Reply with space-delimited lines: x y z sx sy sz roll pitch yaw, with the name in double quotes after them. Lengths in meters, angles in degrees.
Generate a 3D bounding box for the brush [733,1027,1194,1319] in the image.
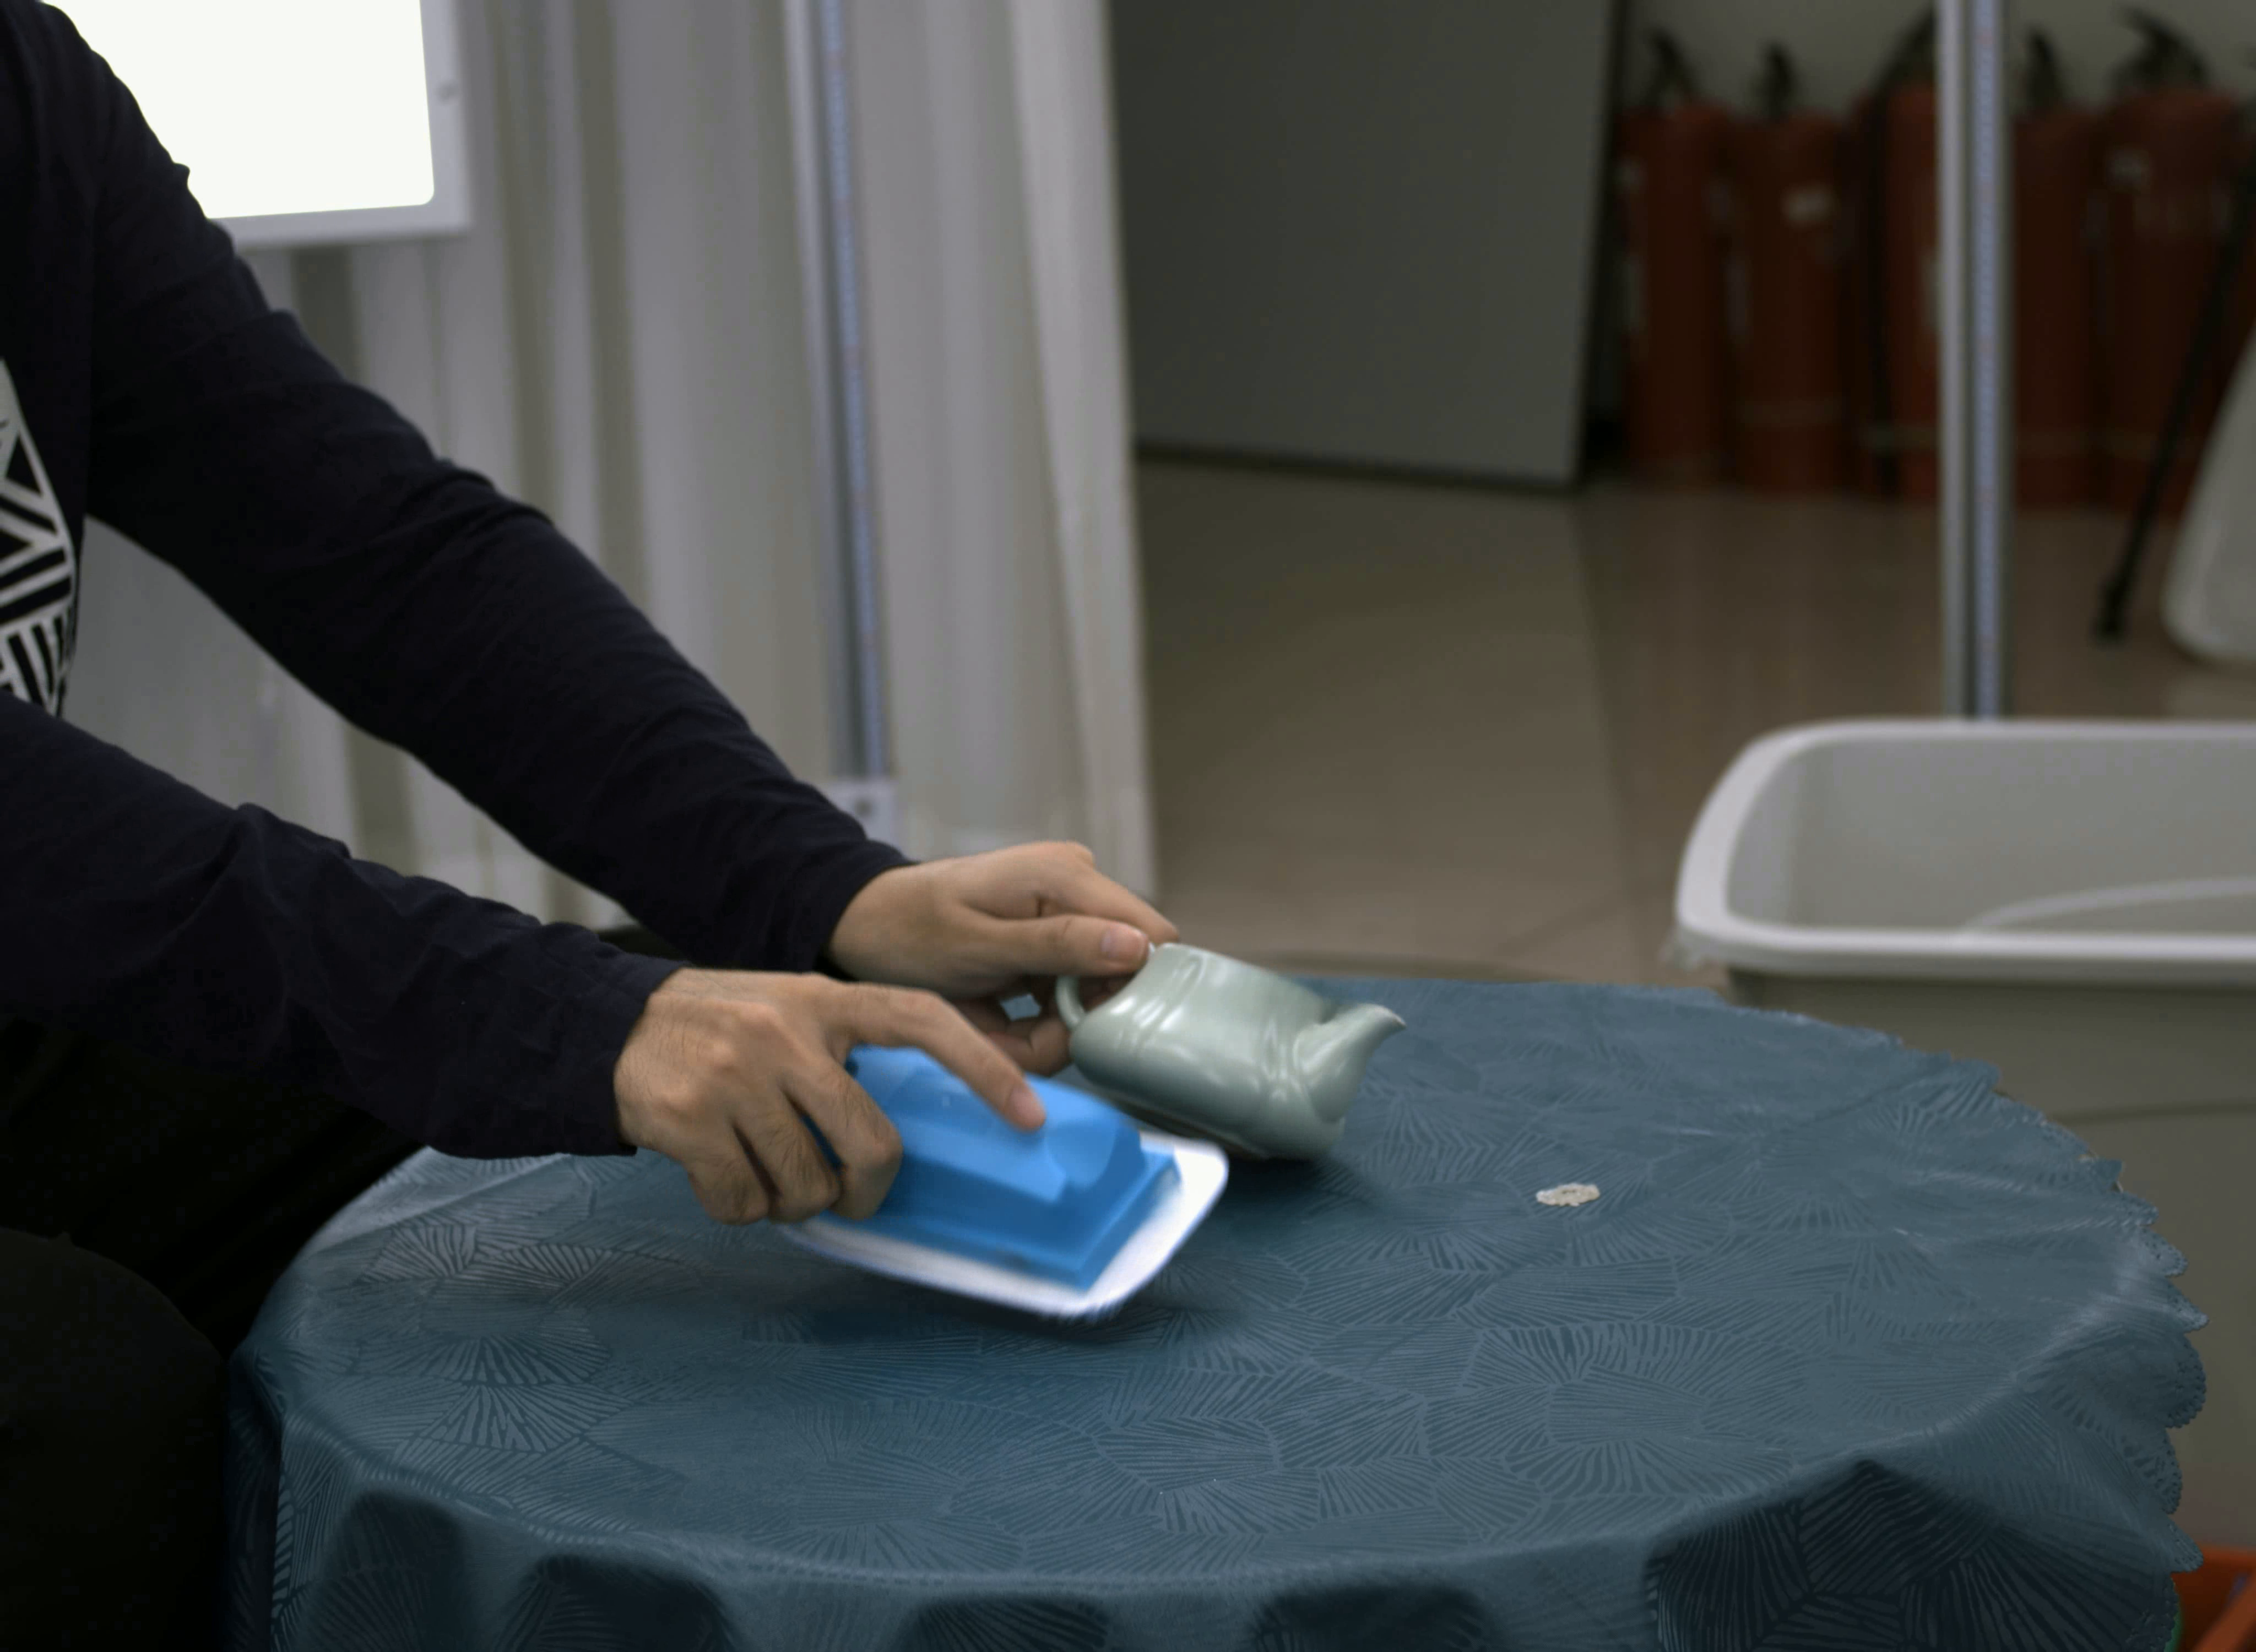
-0.053 0.103 1.669 0.145 0.056 0.083 16 42 38 "brush"

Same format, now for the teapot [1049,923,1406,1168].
0.026 0.075 1.784 0.138 0.062 0.094 17 -4 36 "teapot"
